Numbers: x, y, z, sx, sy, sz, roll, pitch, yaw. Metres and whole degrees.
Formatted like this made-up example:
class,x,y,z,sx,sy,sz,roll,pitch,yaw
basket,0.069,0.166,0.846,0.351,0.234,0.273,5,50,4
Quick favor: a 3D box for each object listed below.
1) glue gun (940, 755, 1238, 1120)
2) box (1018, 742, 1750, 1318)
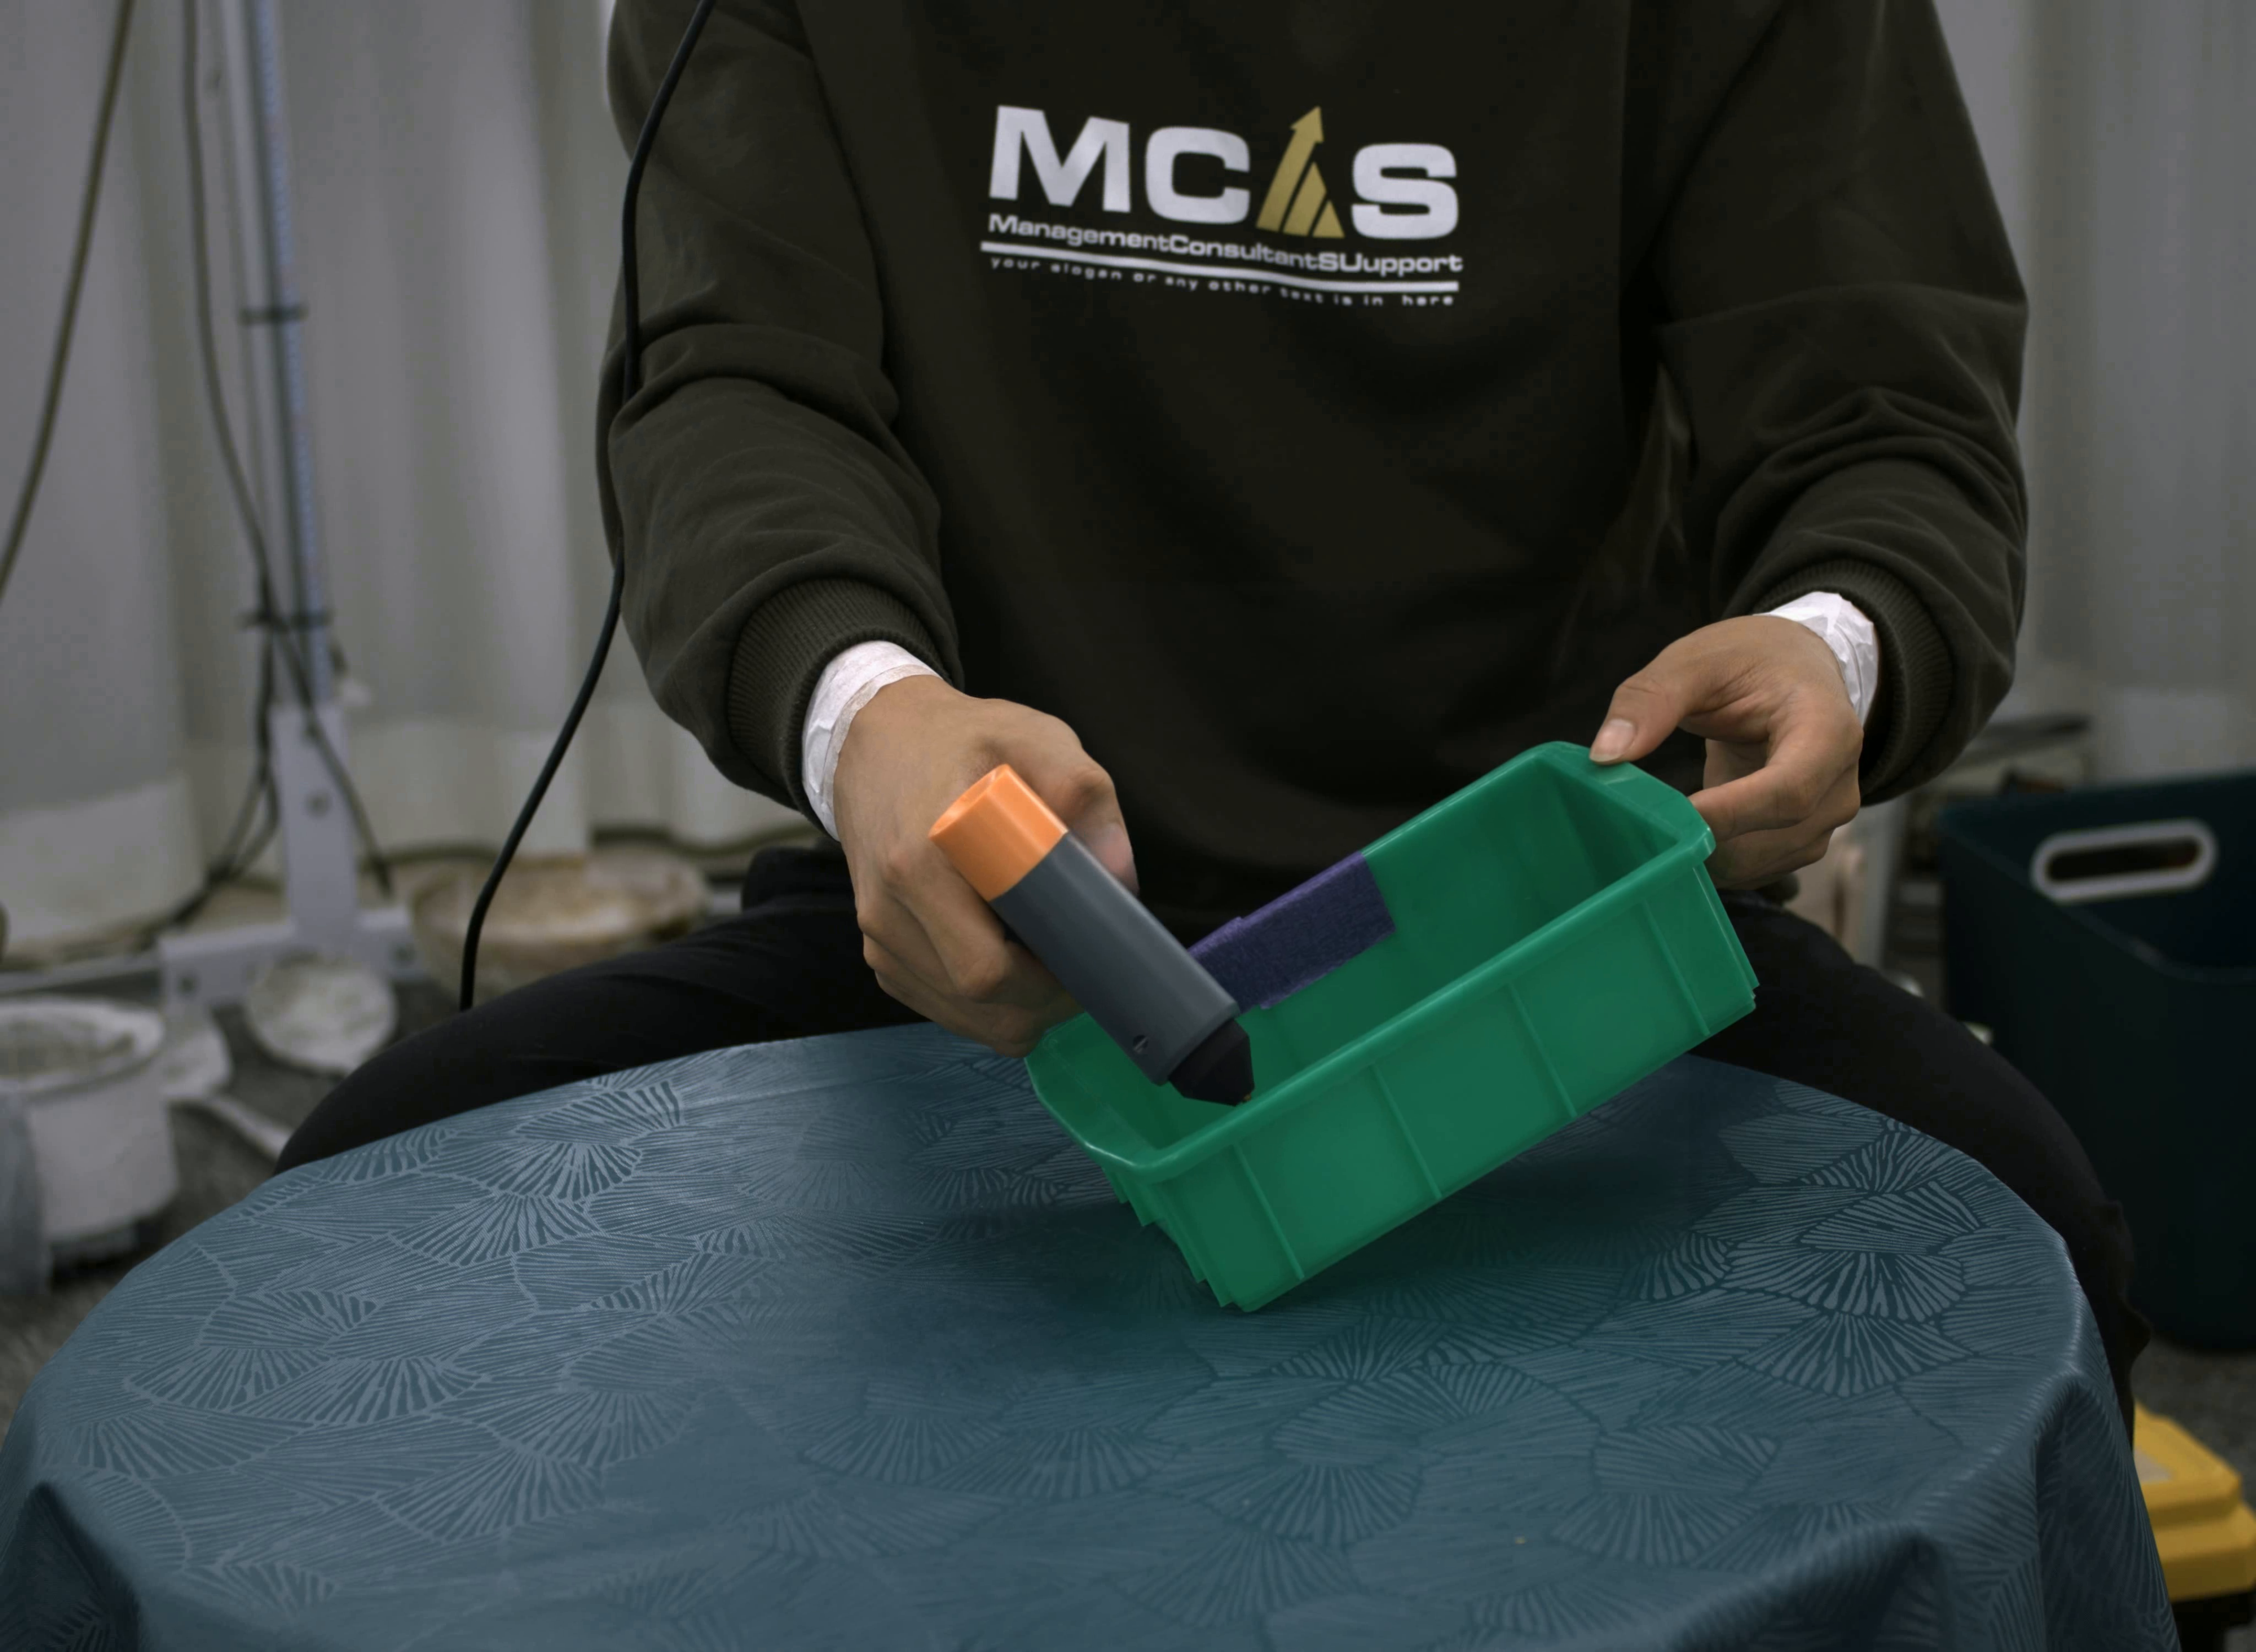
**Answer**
class,x,y,z,sx,sy,sz,roll,pitch,yaw
glue gun,-0.013,0.032,1.642,0.041,0.117,0.140,-37,9,-3
box,0.080,0.062,1.657,0.210,0.065,0.139,-32,19,-9
